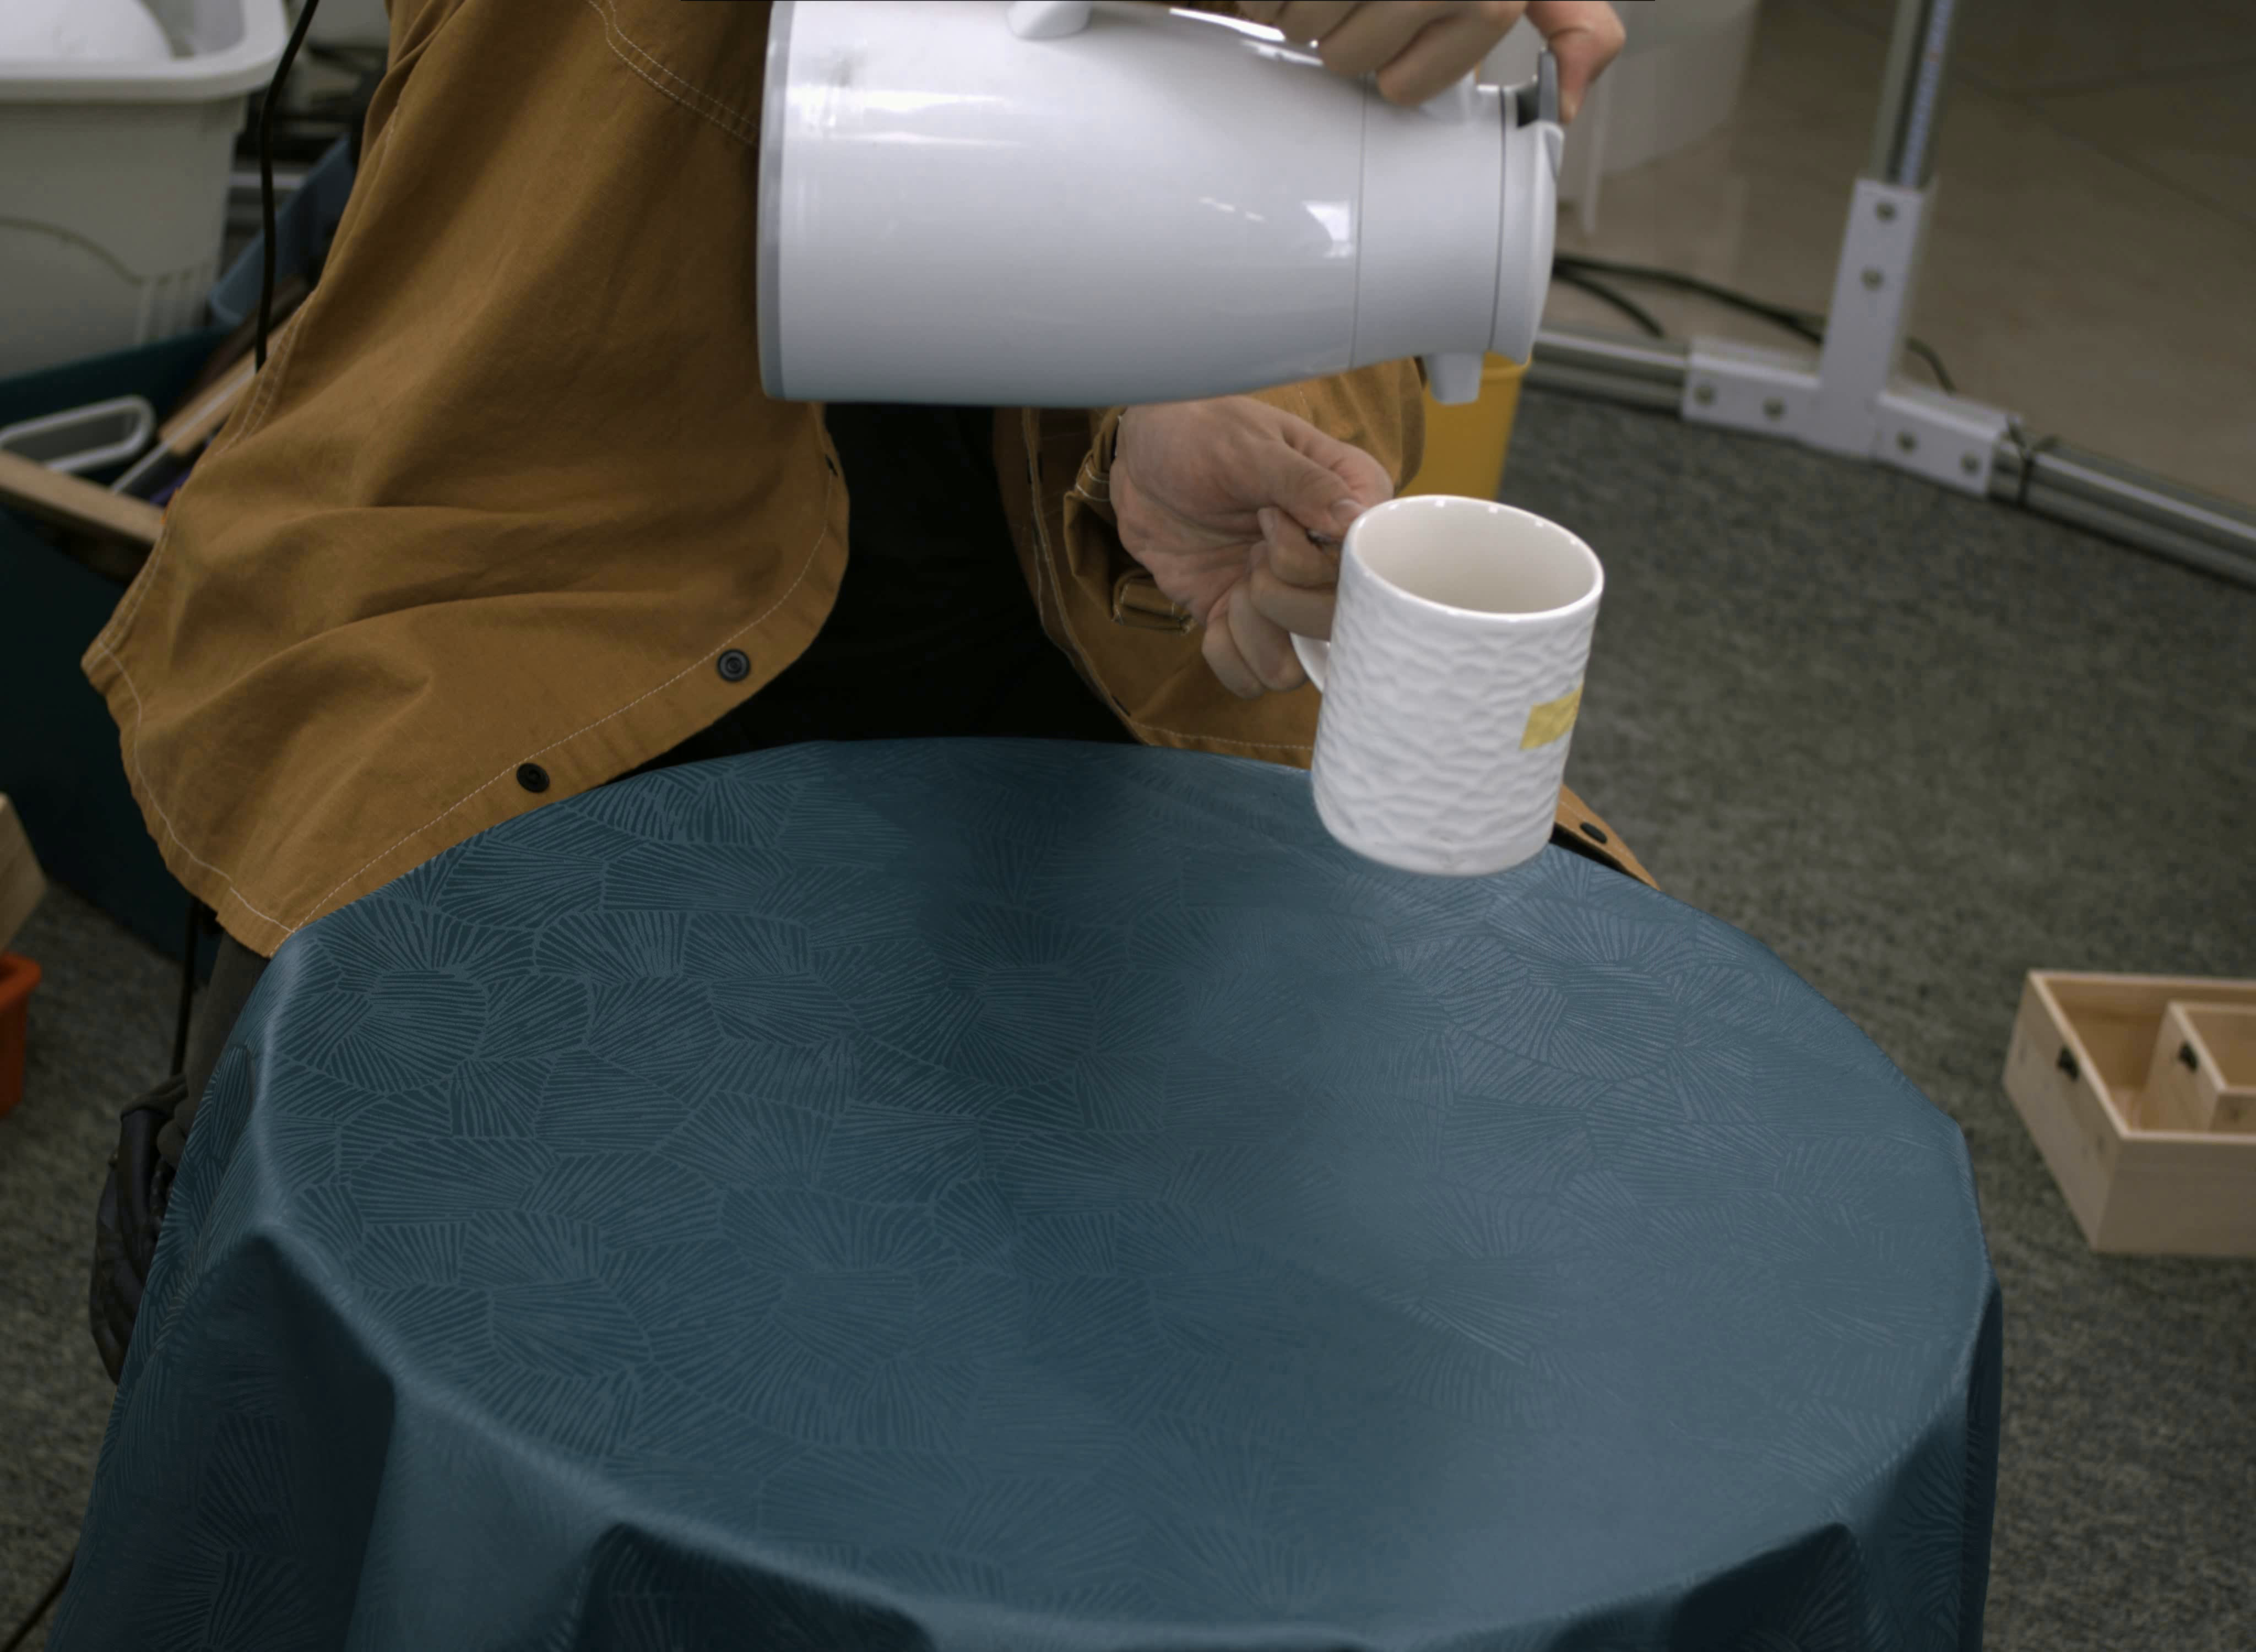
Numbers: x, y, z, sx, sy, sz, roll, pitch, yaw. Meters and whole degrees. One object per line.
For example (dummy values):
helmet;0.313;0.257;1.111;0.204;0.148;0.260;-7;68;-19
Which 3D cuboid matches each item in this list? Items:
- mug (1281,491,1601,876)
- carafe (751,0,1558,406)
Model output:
mug;0.095;-0.053;1.770;0.084;0.101;0.119;-19;39;-40
carafe;0.010;-0.211;1.672;0.248;0.167;0.133;3;36;2
